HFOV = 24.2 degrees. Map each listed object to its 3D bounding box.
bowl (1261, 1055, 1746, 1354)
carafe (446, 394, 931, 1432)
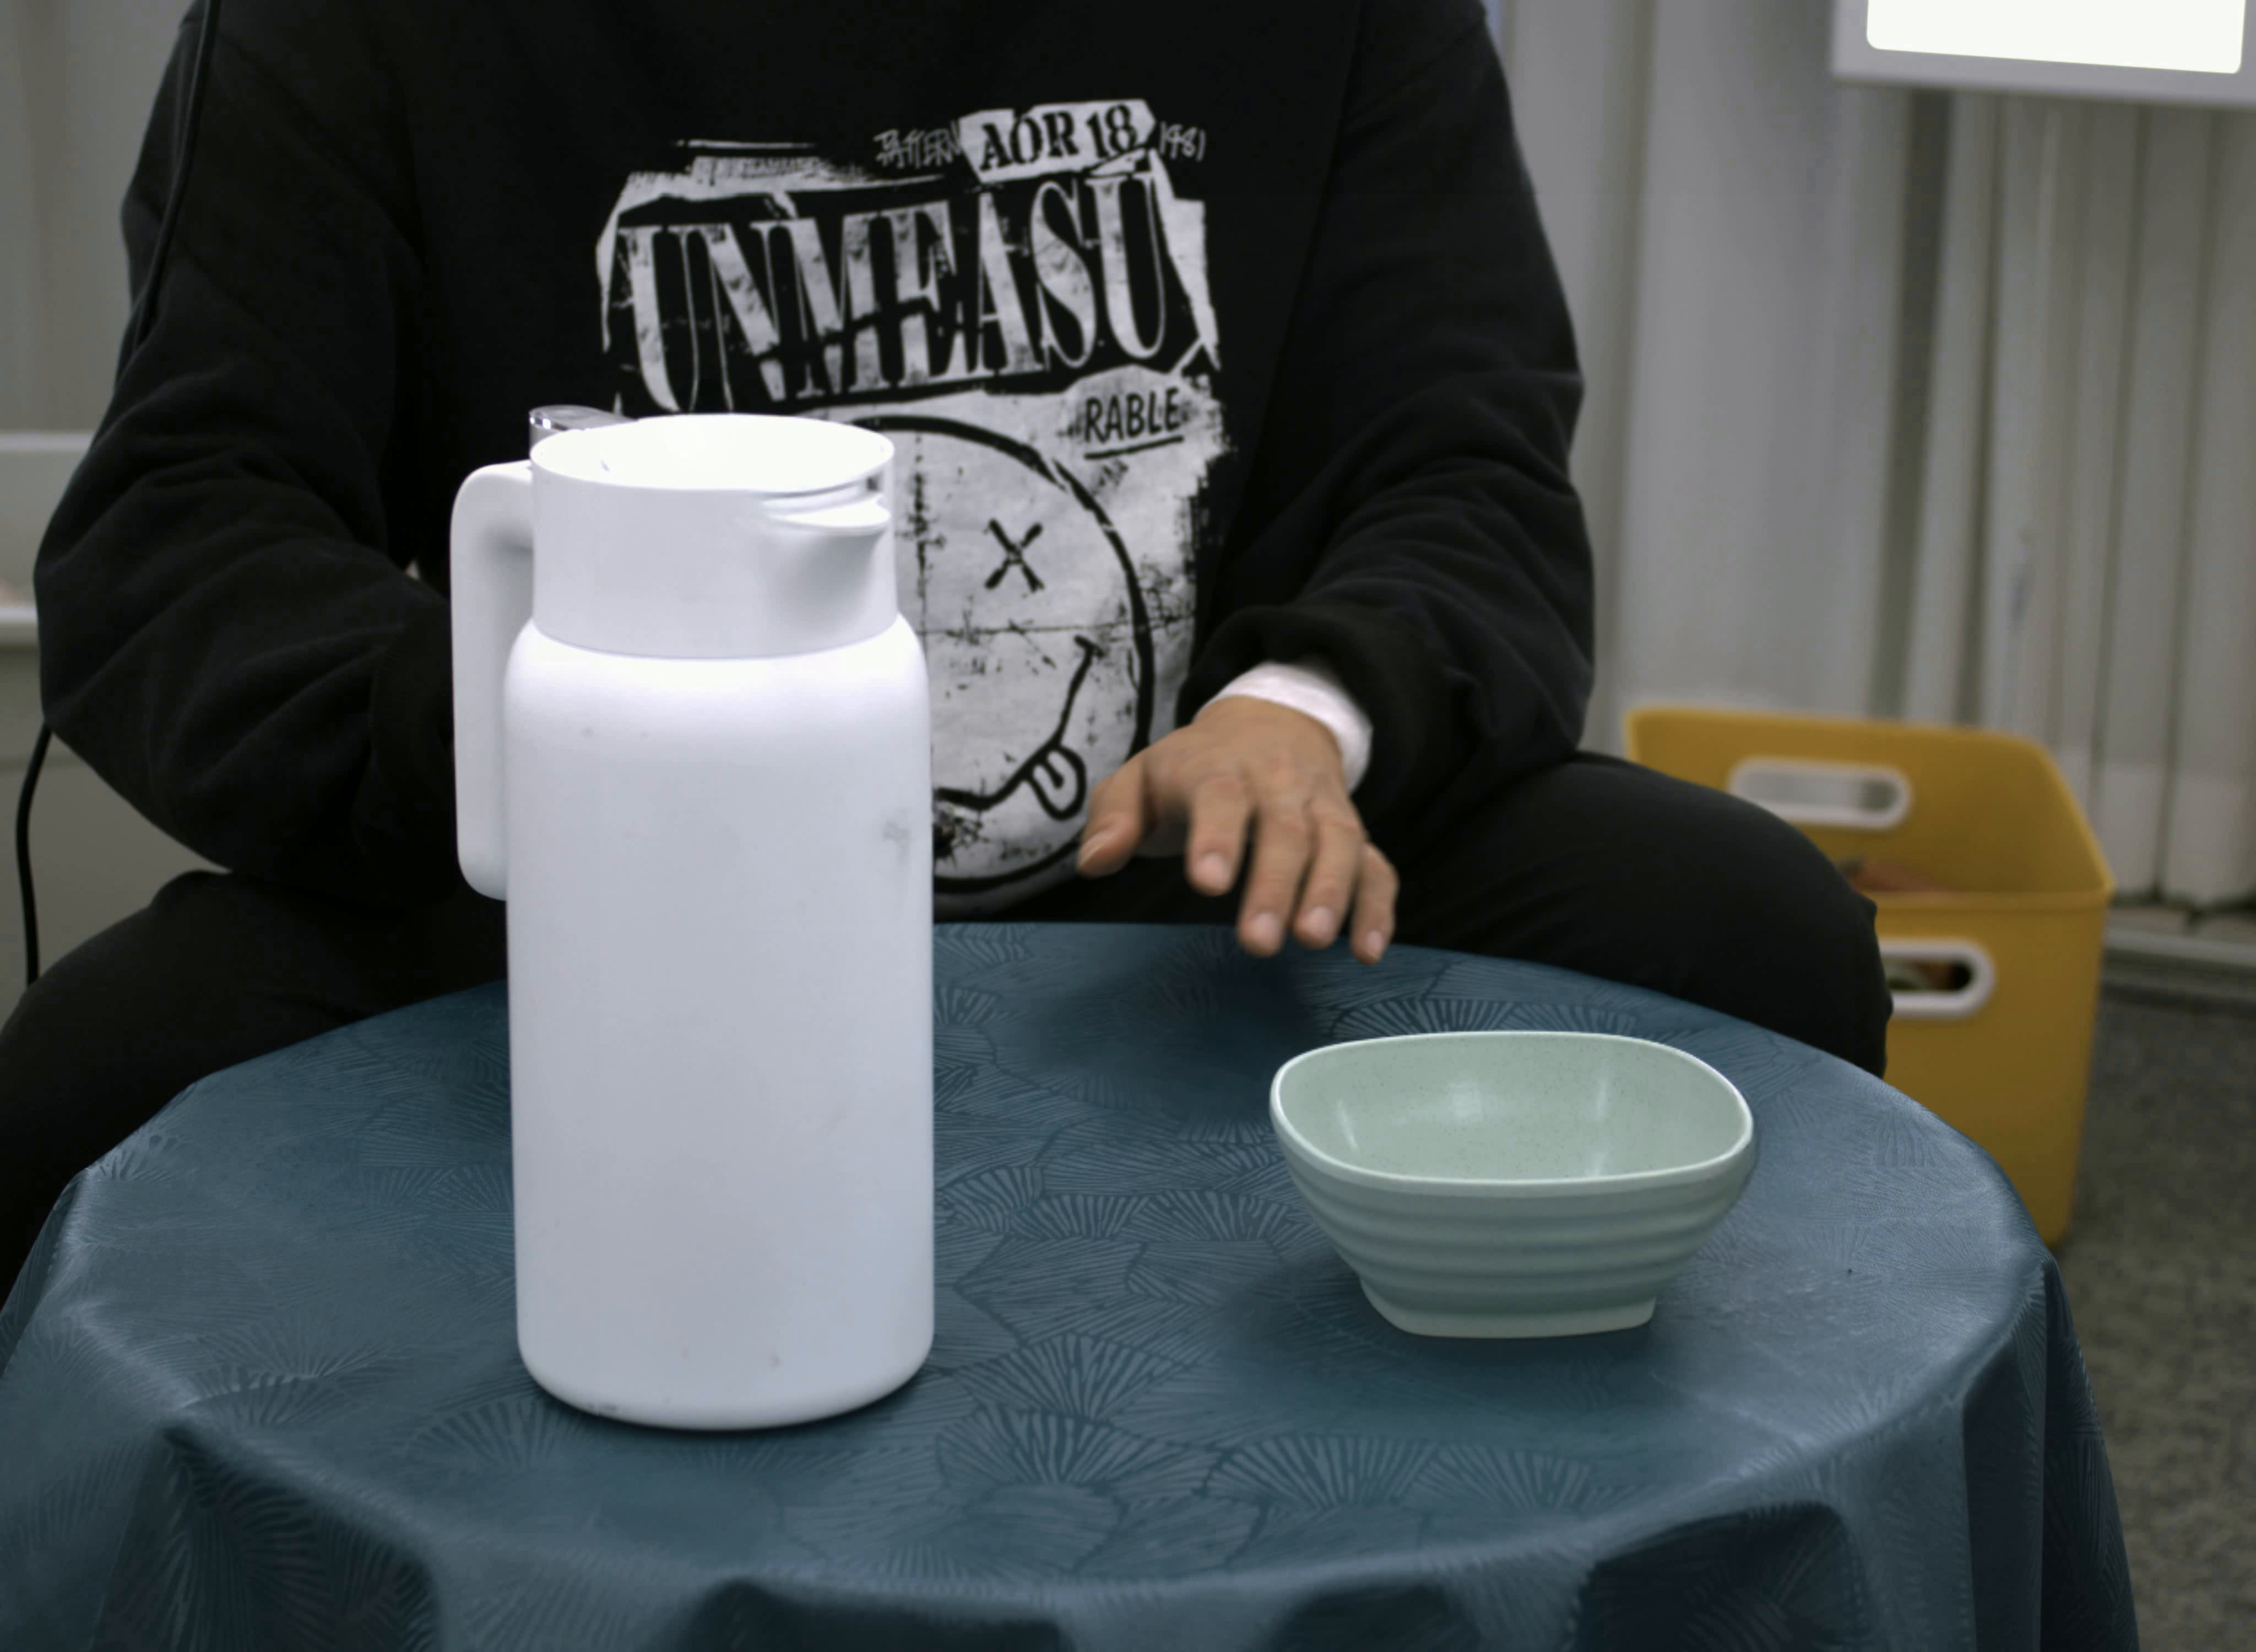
[{"bbox_3d":[0.109,0.113,1.536,0.151,0.059,0.151,-1,13,1],"label":"bowl"},{"bbox_3d":[-0.125,0.020,1.450,0.124,0.271,0.170,-17,24,-42],"label":"carafe"}]
